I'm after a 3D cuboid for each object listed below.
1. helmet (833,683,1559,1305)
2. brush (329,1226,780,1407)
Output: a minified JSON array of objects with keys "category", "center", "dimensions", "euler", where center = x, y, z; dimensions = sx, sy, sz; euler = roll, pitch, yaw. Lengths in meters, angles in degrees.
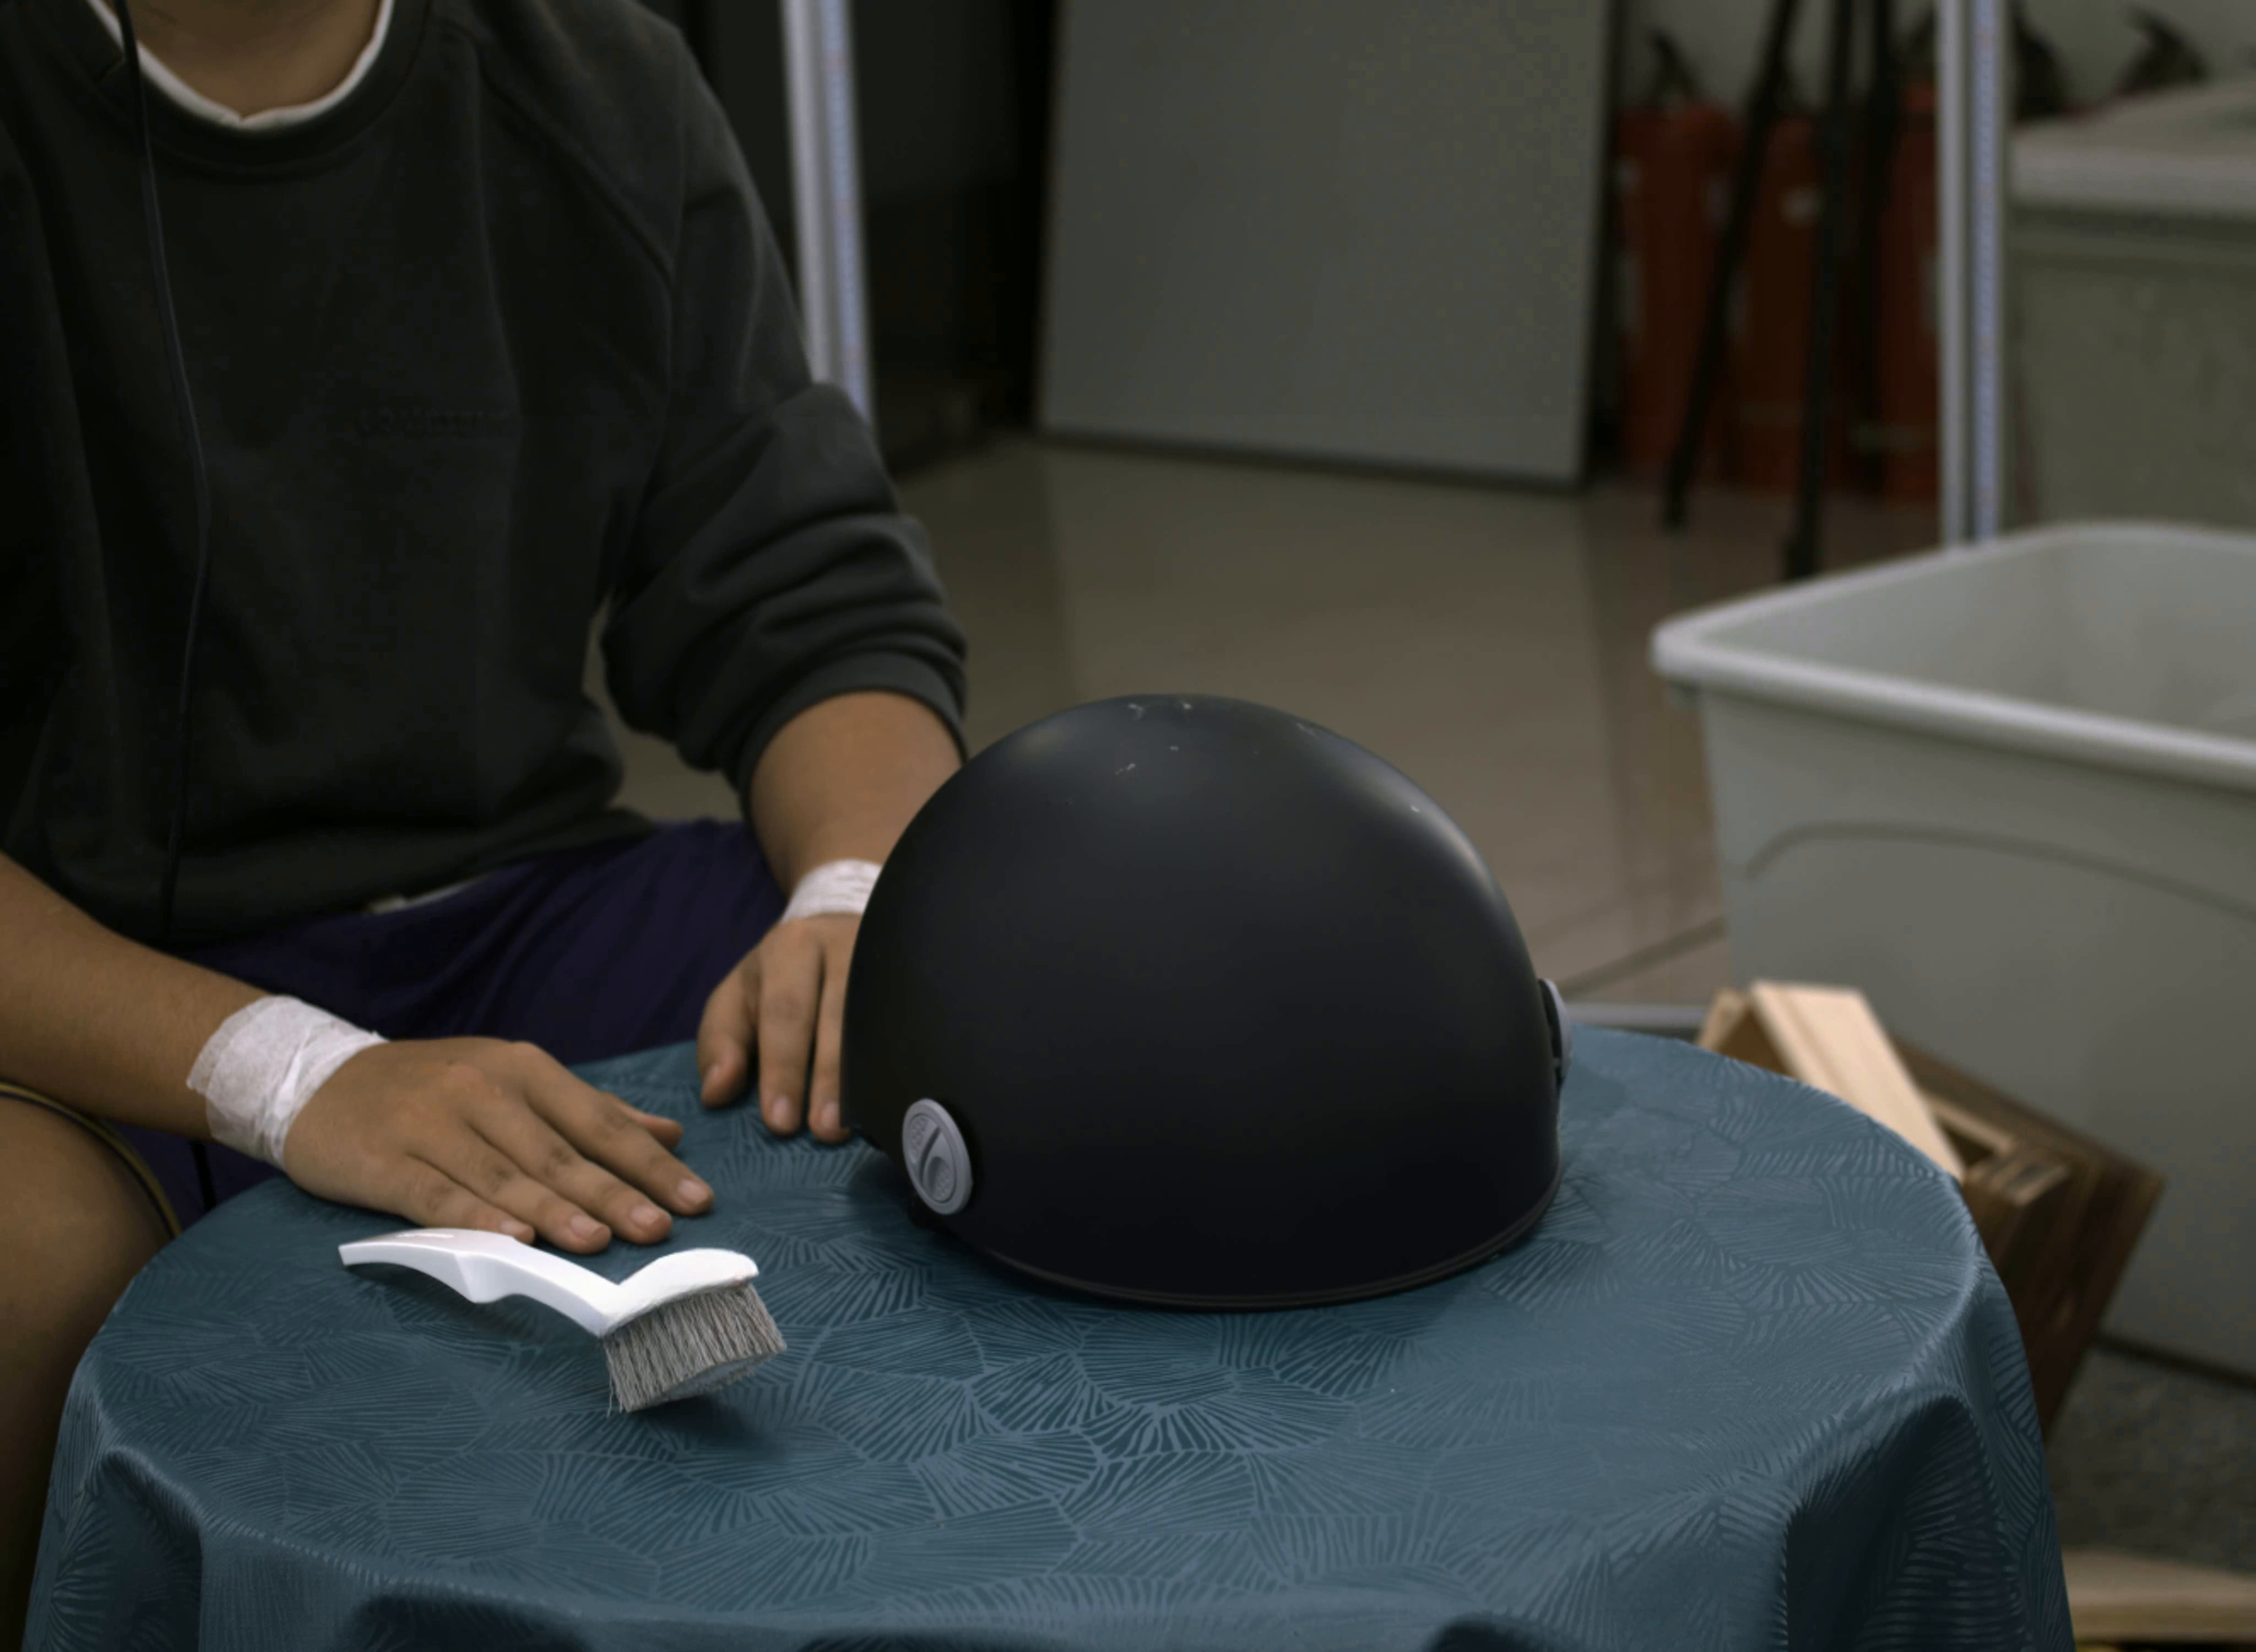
[{"category":"helmet","center":[0.019,0.043,1.750],"dimensions":[0.225,0.168,0.275],"euler":[-10,16,-18]},{"category":"brush","center":[-0.179,0.151,1.652],"dimensions":[0.033,0.051,0.246],"euler":[-13,3,-34]}]
